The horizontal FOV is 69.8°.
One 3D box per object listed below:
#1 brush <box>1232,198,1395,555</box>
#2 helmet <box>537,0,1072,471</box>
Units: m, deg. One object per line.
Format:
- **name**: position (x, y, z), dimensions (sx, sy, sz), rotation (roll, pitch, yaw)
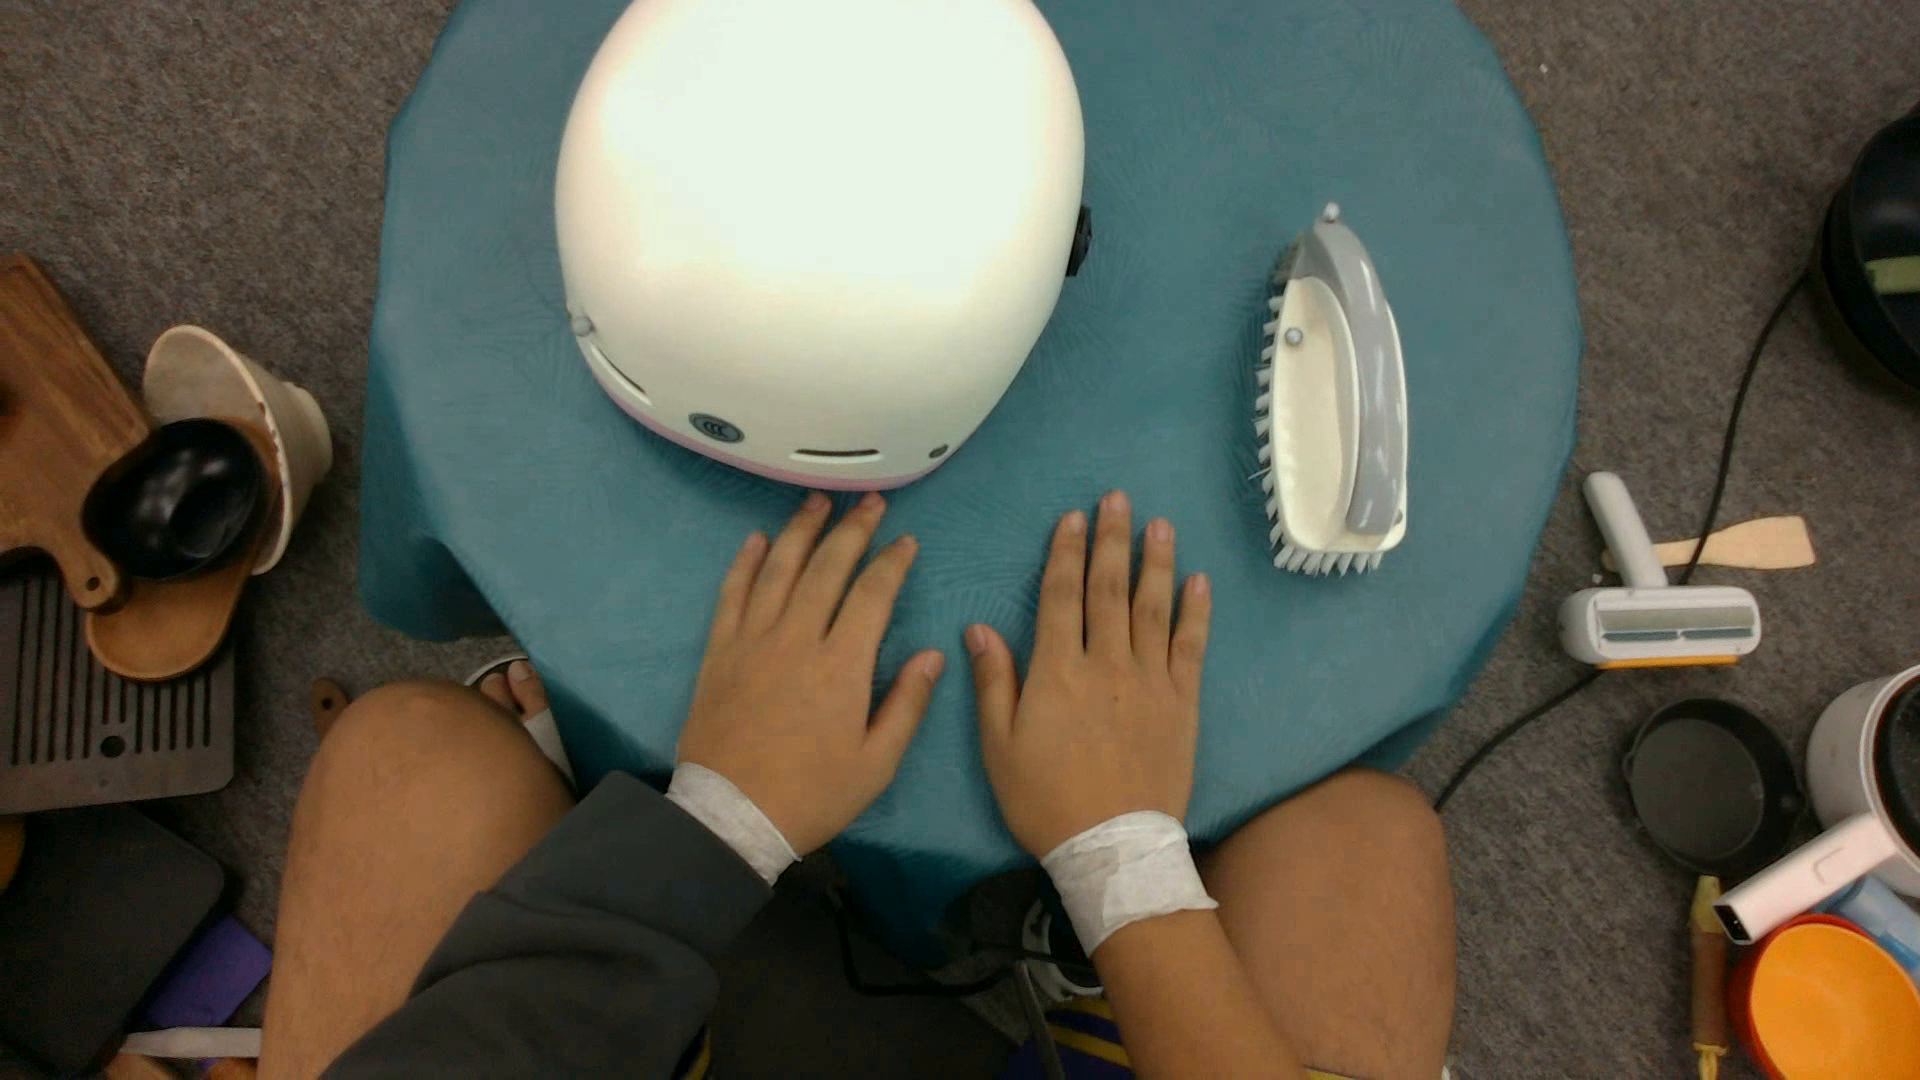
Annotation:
- **brush**: position (0.166, -0.088, 0.640), dimensions (0.061, 0.094, 0.176), rotation (1, 72, -8)
- **helmet**: position (-0.066, -0.176, 0.598), dimensions (0.237, 0.166, 0.269), rotation (21, 73, 1)
